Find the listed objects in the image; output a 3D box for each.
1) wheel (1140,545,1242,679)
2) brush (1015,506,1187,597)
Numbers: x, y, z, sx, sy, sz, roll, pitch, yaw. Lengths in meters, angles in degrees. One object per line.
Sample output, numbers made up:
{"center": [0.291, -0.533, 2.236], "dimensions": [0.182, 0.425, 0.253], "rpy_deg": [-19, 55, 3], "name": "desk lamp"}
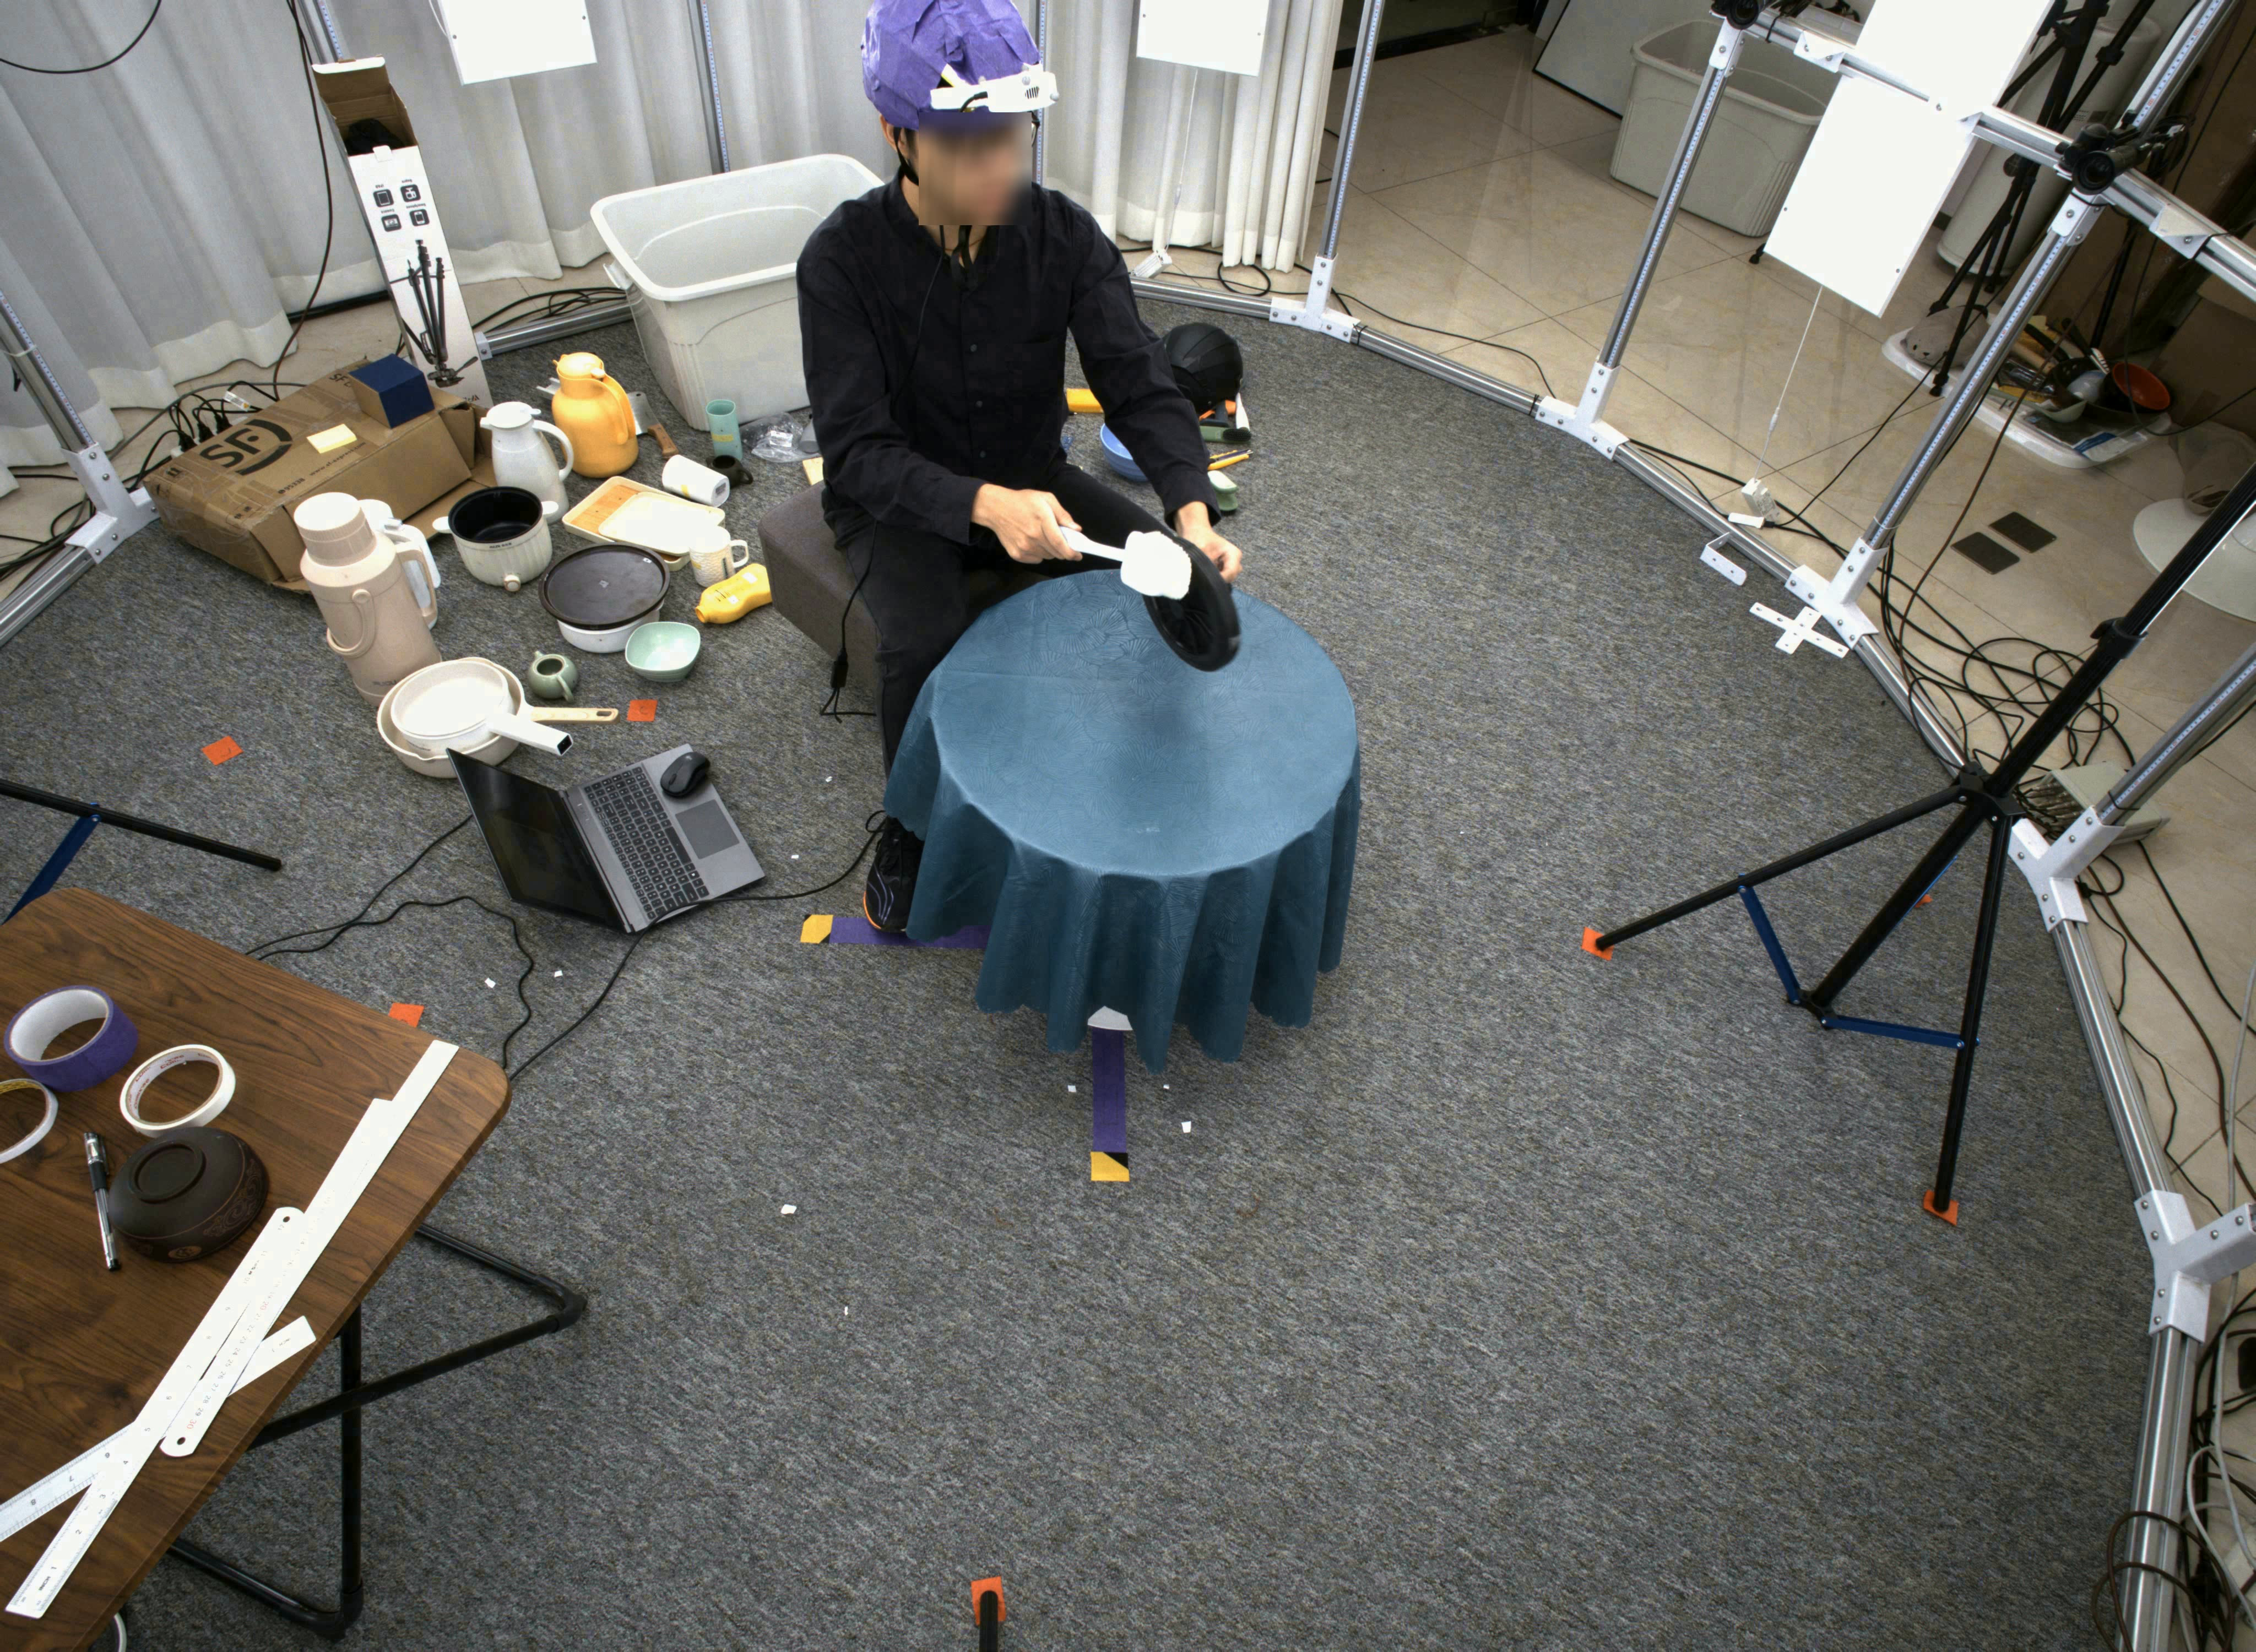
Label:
{"center": [0.097, -0.292, 1.702], "dimensions": [0.079, 0.185, 0.190], "rpy_deg": [-33, 87, -22], "name": "wheel"}
{"center": [-0.025, -0.370, 1.682], "dimensions": [0.083, 0.083, 0.331], "rpy_deg": [-52, 47, -4], "name": "brush"}
